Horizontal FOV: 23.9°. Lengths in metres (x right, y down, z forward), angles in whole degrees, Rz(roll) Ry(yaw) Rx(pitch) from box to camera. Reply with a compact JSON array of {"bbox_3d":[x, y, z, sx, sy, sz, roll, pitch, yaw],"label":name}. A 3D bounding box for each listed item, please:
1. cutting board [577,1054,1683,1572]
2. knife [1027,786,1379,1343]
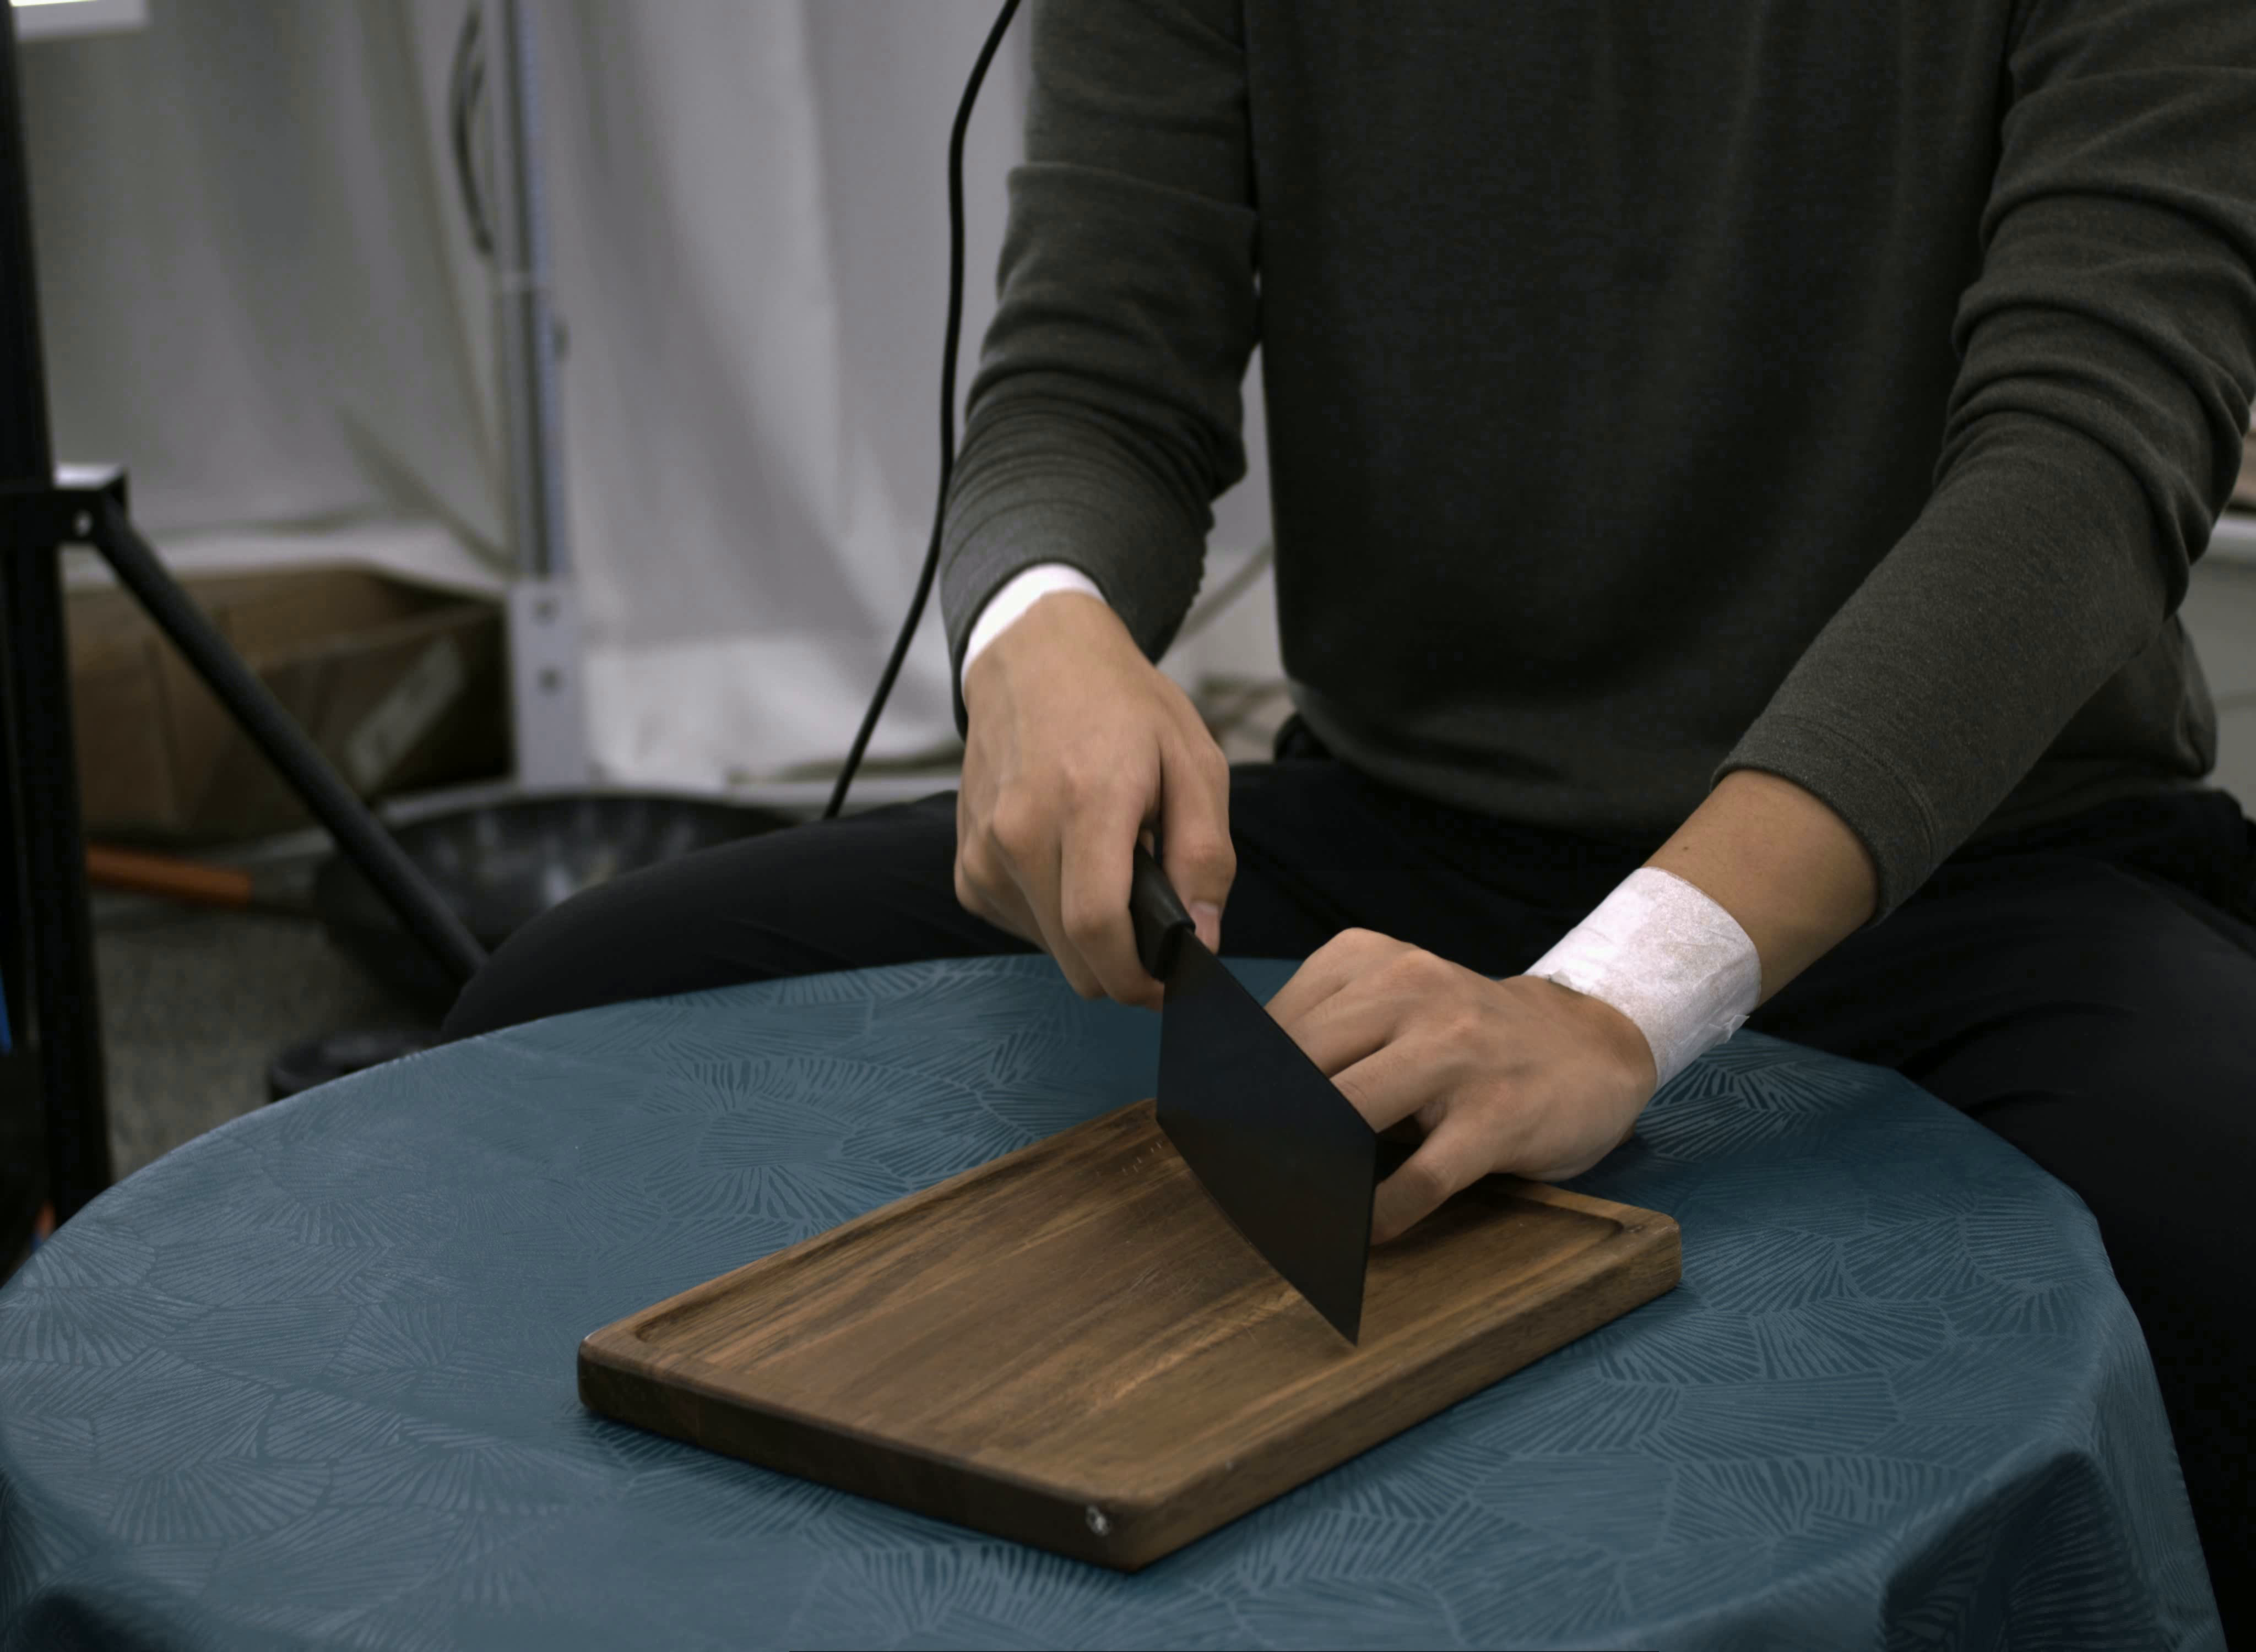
[{"bbox_3d":[0.035,0.120,1.475,0.205,0.023,0.344,11,21,38],"label":"cutting board"},{"bbox_3d":[0.020,0.059,1.514,0.020,0.081,0.307,1,22,-18],"label":"knife"}]
